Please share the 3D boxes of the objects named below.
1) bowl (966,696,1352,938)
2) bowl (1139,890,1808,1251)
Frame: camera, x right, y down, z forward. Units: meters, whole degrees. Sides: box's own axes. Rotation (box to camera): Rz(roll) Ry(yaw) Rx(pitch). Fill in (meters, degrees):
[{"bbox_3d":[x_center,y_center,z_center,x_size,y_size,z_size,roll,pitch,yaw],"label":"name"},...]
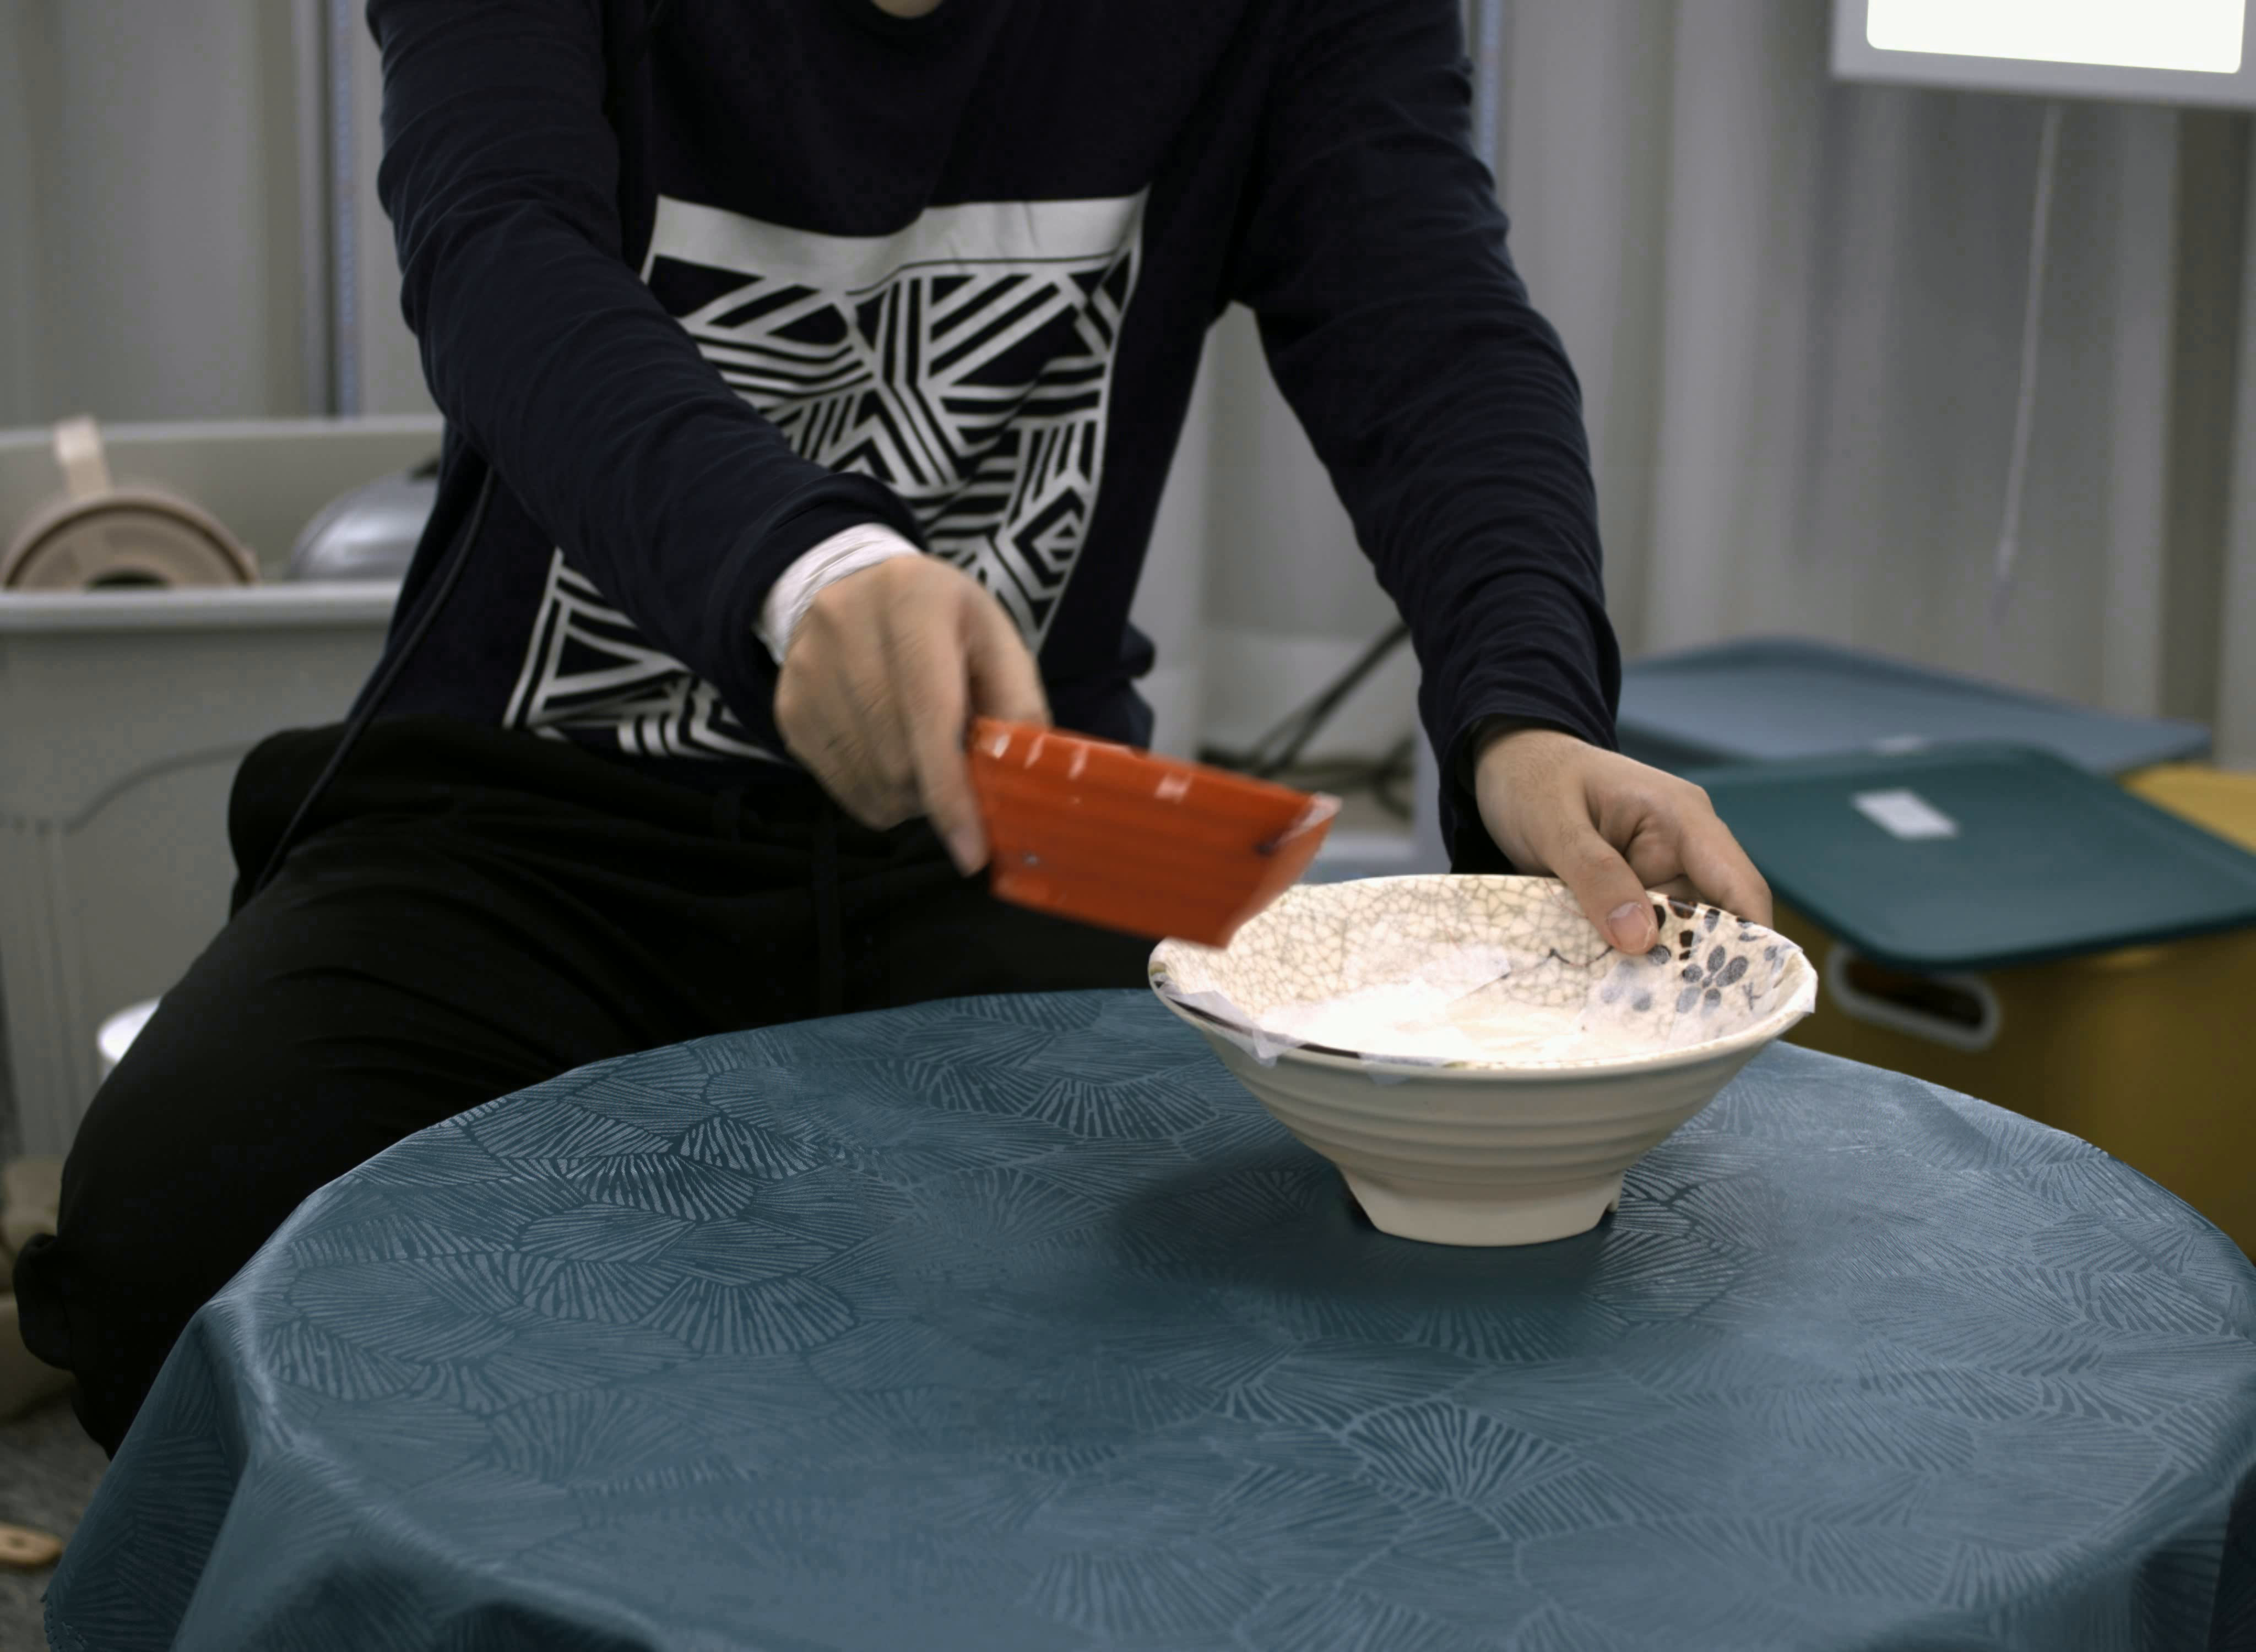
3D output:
[{"bbox_3d":[0.004,-0.001,1.524,0.118,0.051,0.119,13,0,0],"label":"bowl"},{"bbox_3d":[0.103,0.080,1.605,0.203,0.078,0.203,2,13,0],"label":"bowl"}]
